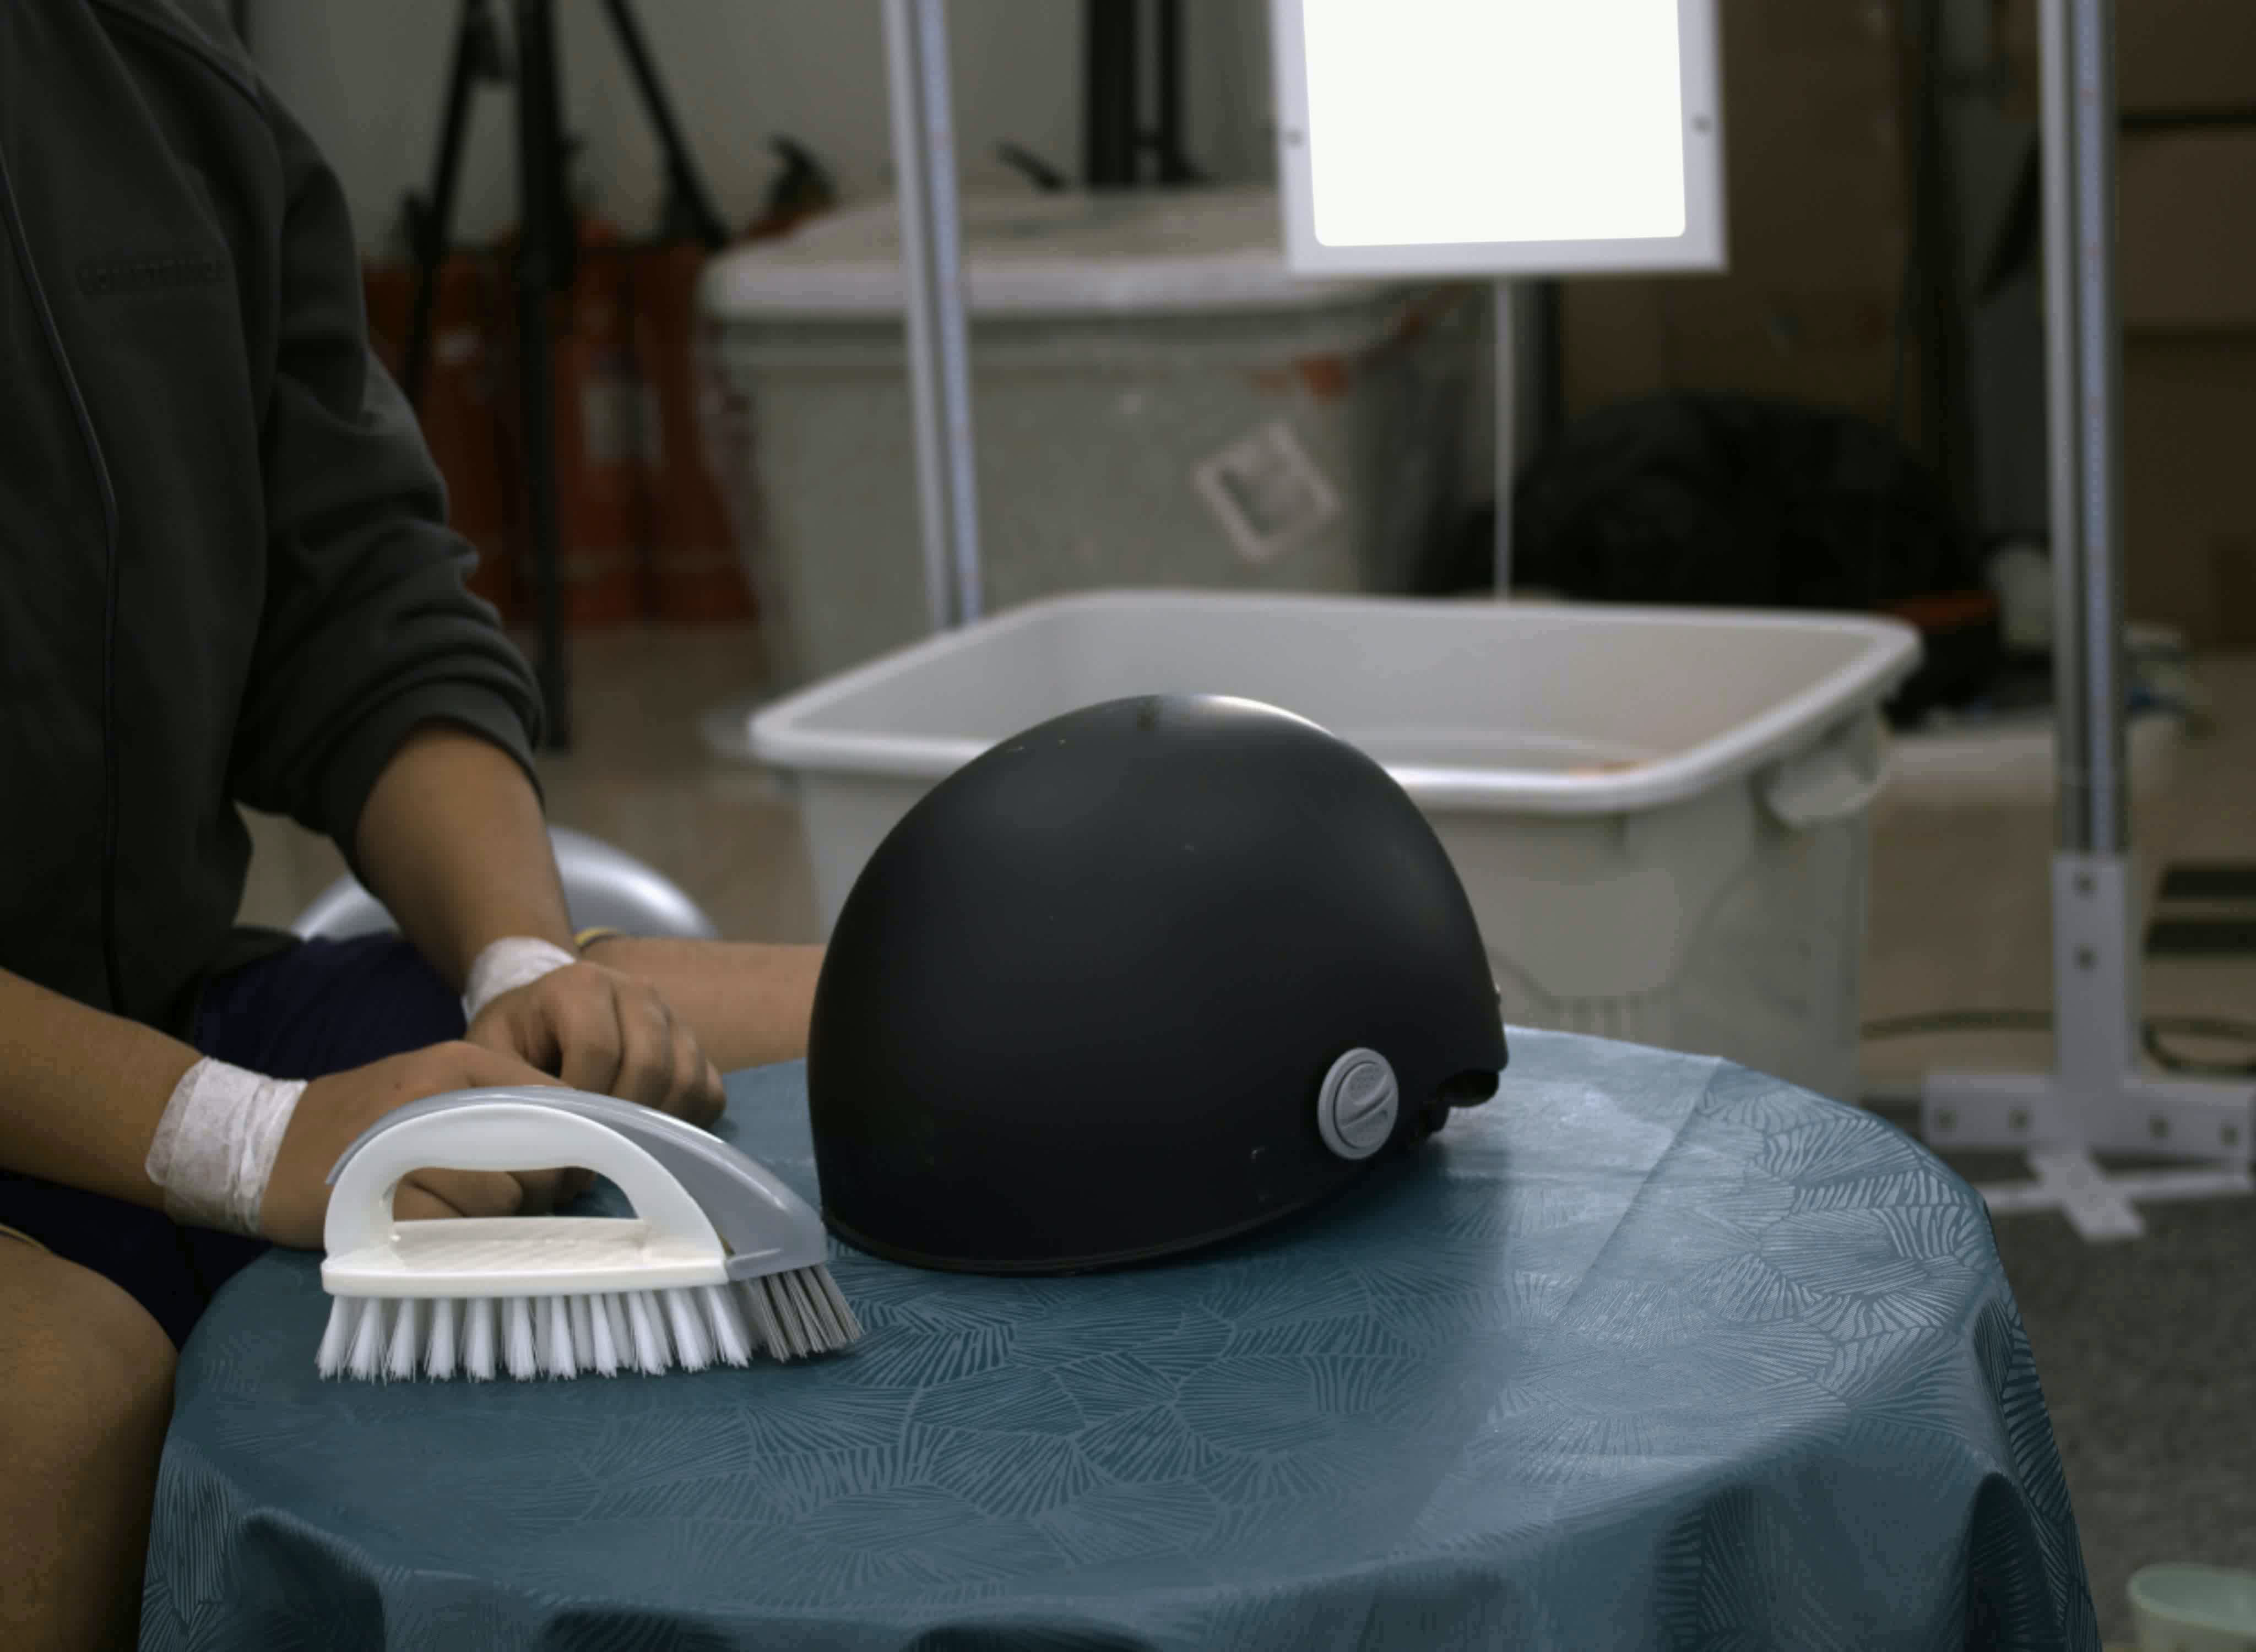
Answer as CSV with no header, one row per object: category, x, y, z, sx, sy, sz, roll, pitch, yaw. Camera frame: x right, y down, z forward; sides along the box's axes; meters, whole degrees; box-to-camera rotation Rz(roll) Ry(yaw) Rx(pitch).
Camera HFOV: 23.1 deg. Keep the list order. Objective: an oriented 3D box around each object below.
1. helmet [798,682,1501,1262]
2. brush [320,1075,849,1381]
helmet,0.002,0.040,1.916,0.235,0.167,0.266,5,19,37
brush,-0.176,0.126,1.774,0.177,0.094,0.060,1,16,16
